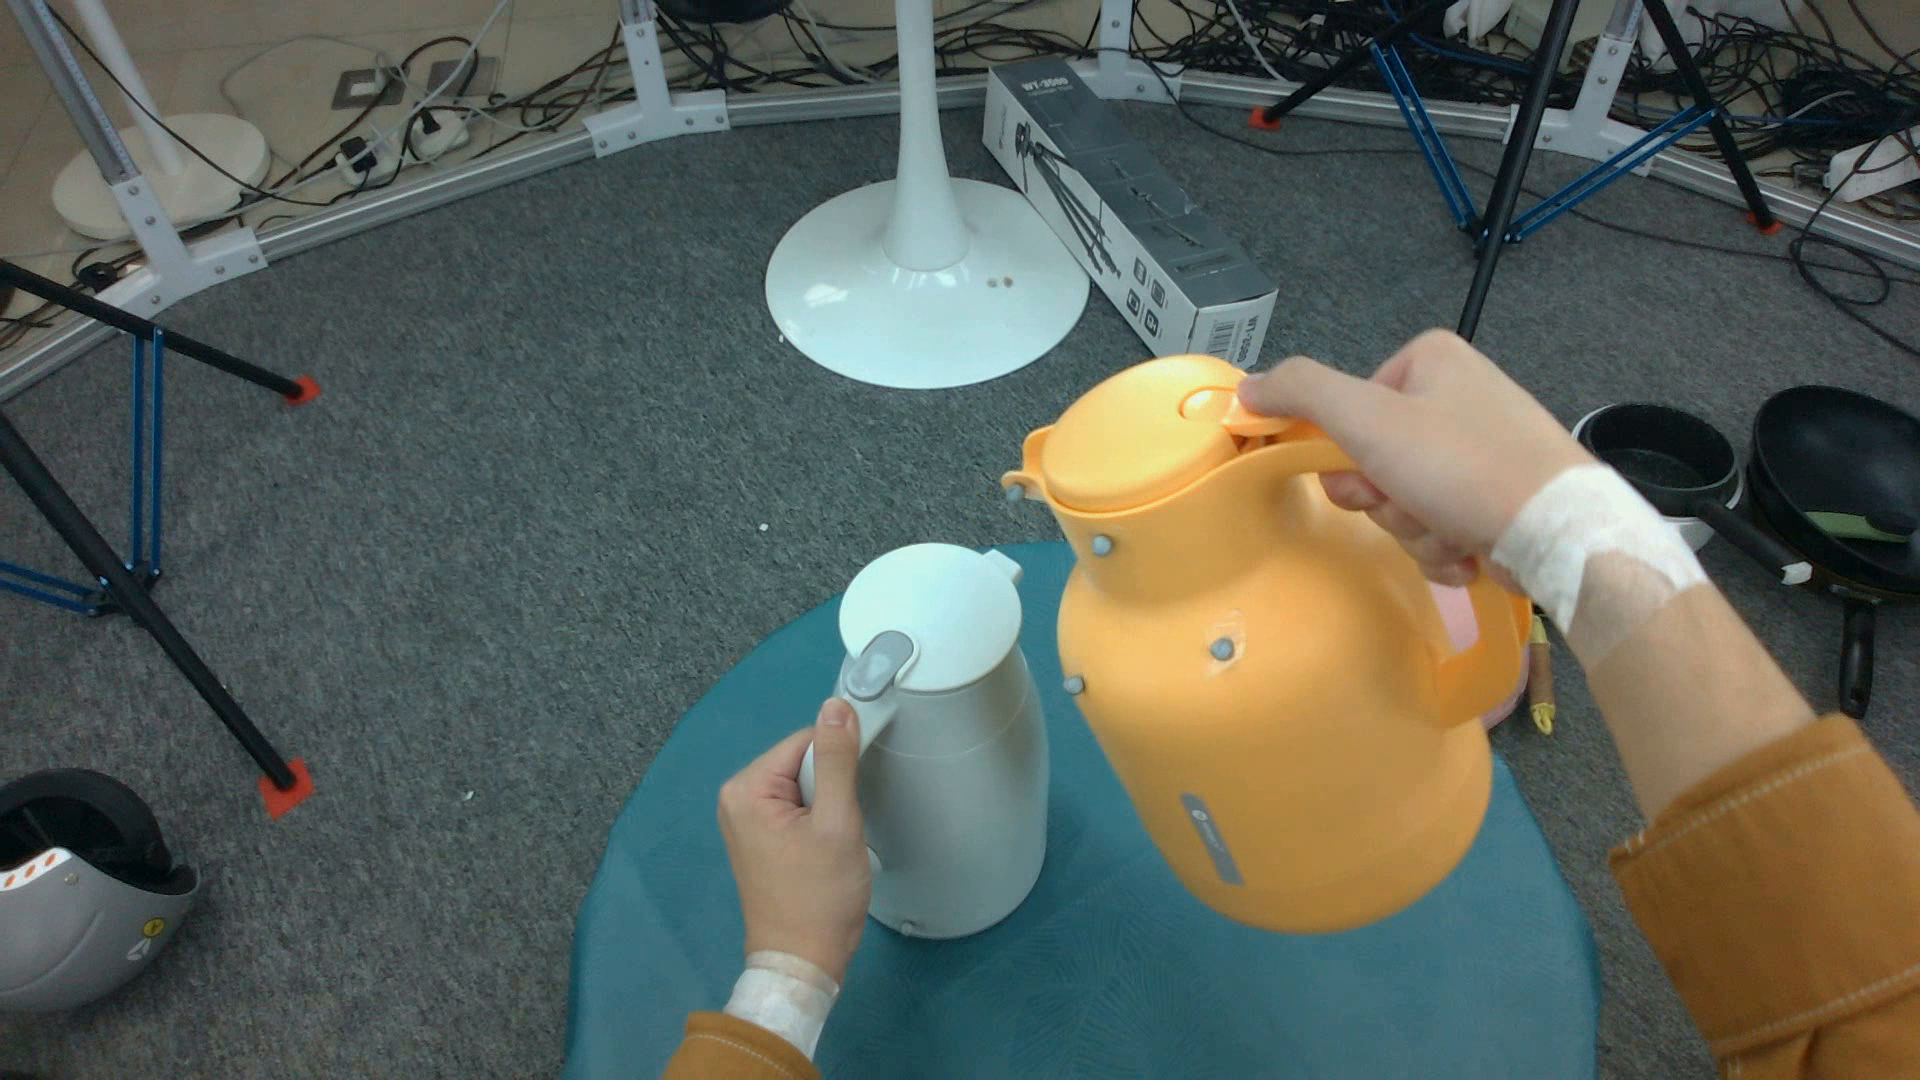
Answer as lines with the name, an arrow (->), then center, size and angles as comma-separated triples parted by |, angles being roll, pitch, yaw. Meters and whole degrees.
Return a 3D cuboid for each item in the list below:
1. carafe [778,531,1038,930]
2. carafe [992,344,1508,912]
carafe -> -0.031, 0.117, 0.762 | 0.132, 0.247, 0.168 | 31, 57, 24
carafe -> 0.137, 0.037, 0.605 | 0.202, 0.260, 0.164 | -1, 44, 39
